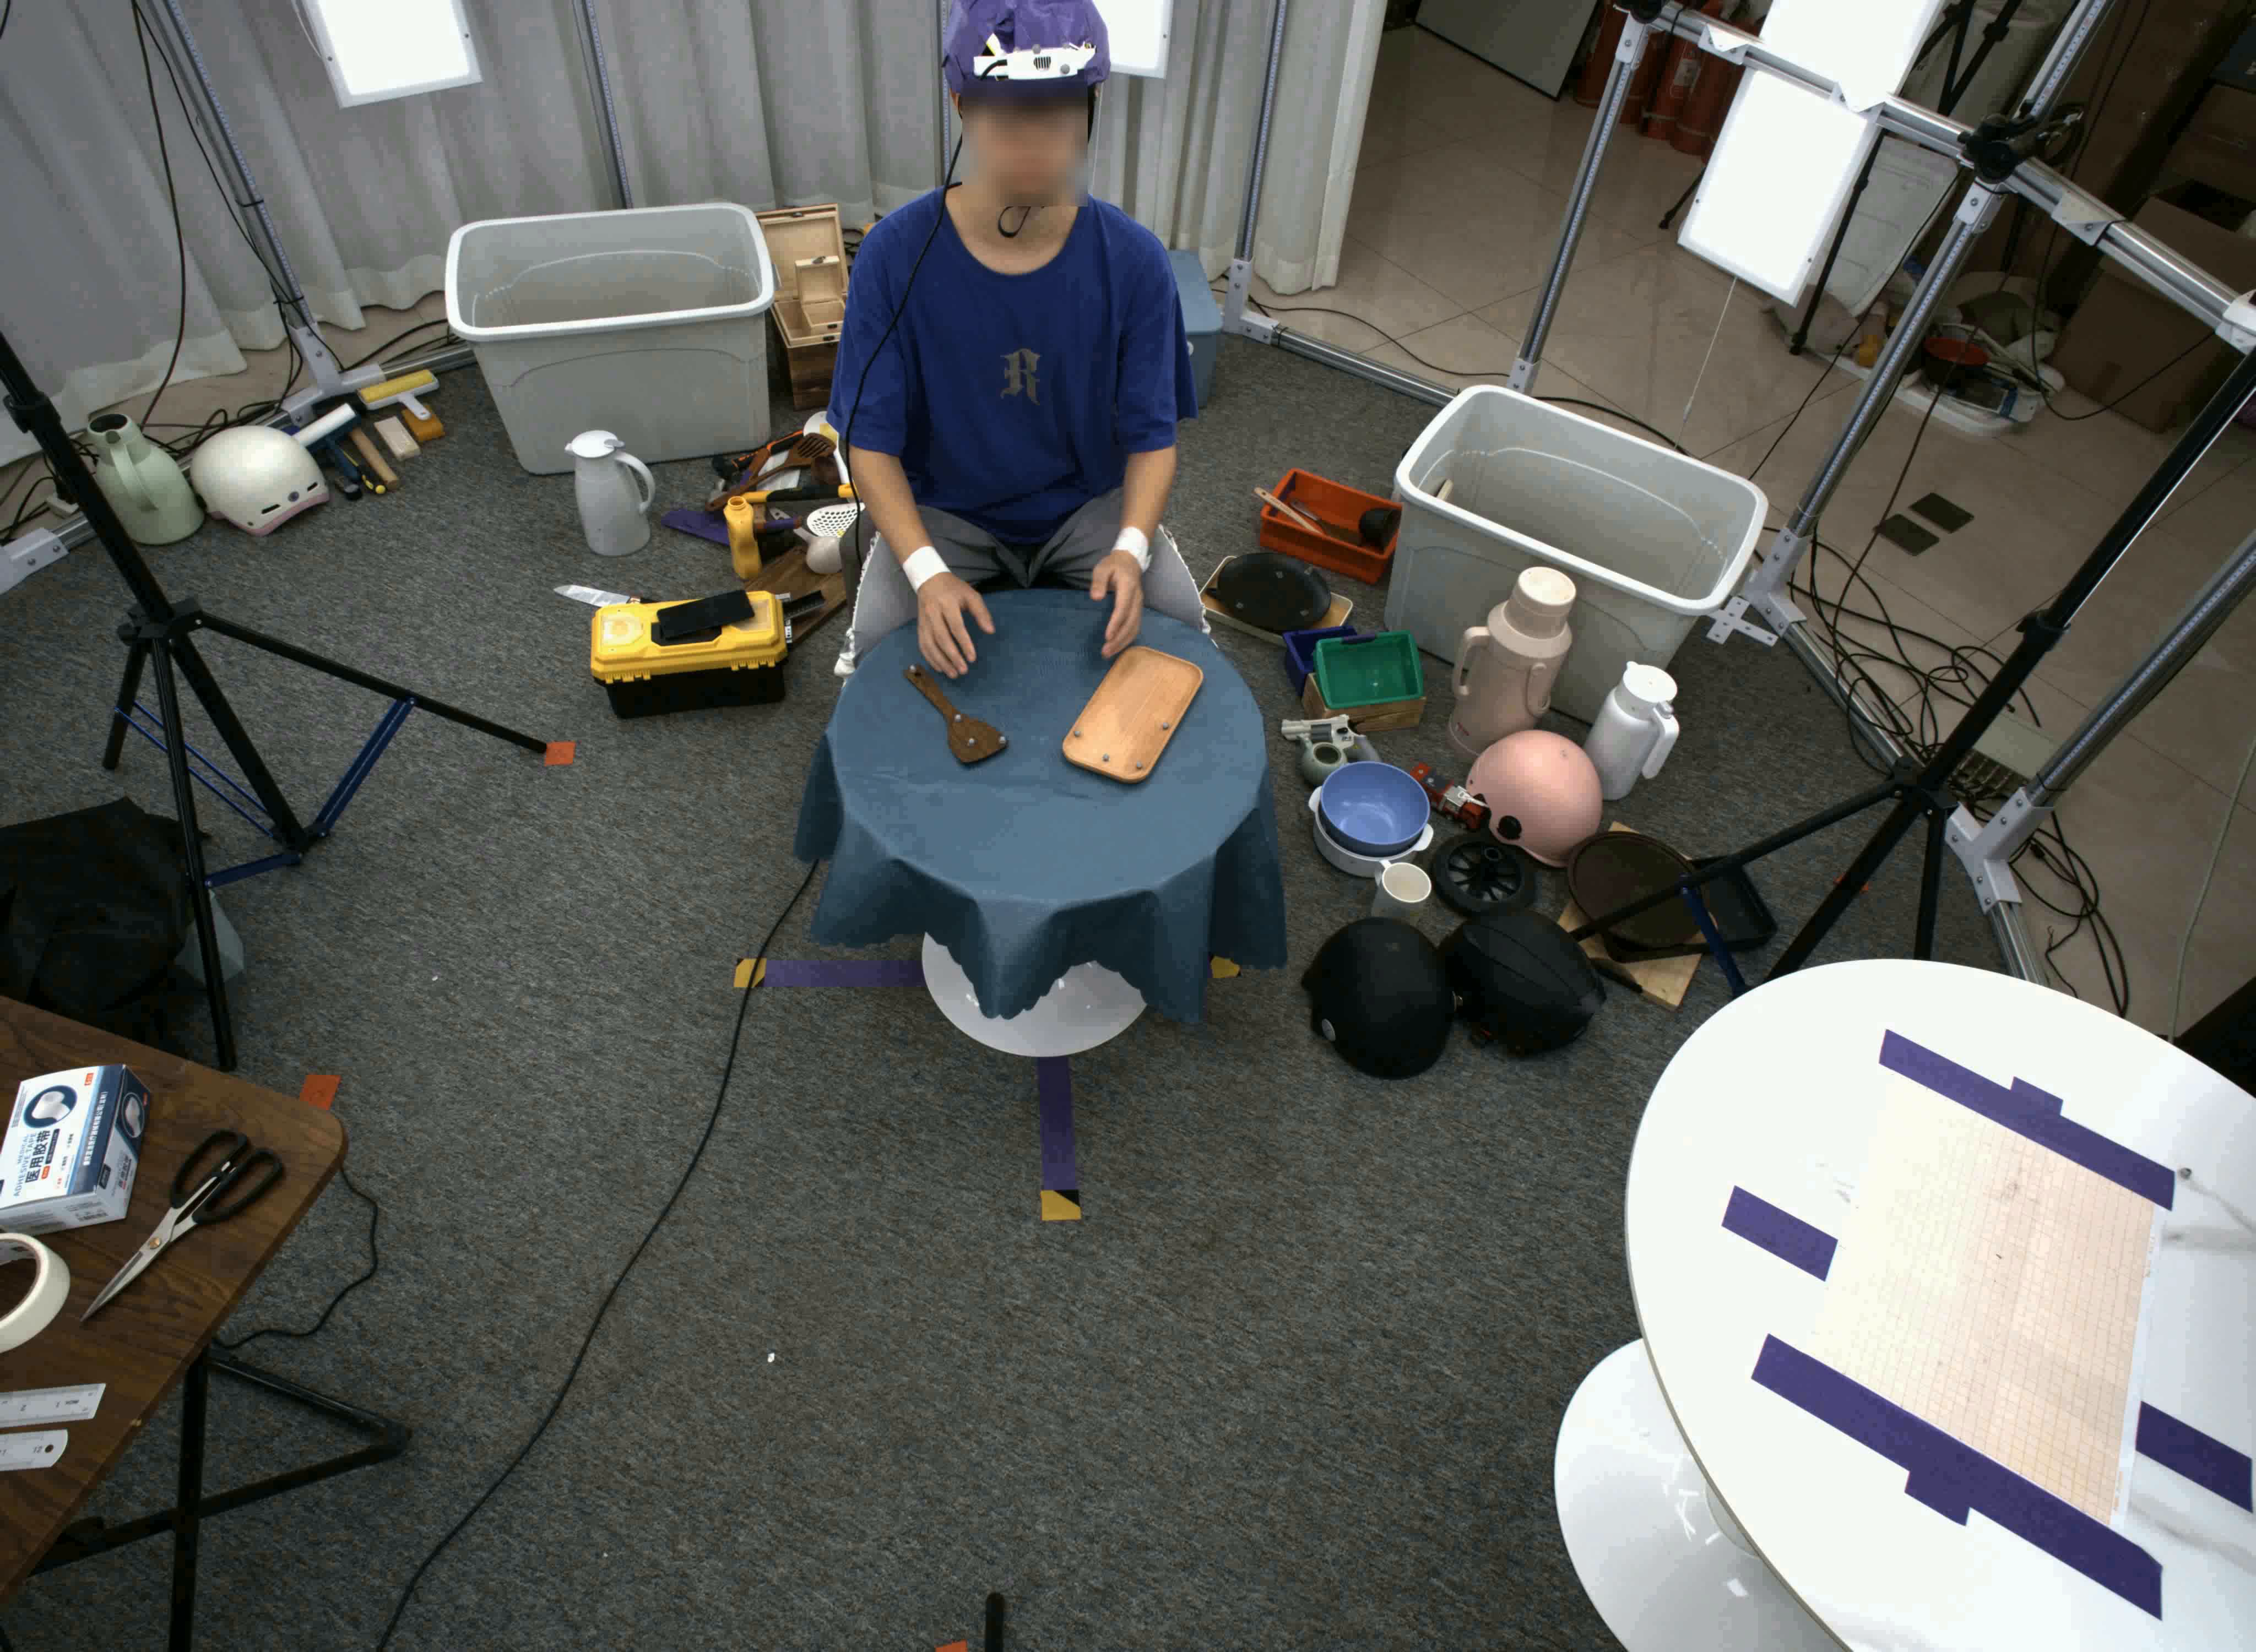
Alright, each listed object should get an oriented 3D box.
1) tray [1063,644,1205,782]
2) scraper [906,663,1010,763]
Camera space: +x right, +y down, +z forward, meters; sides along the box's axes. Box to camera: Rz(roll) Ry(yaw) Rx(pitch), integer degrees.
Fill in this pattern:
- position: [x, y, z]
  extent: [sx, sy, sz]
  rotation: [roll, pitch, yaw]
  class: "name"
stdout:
- position: [0.011, -0.162, 1.802]
  extent: [0.131, 0.022, 0.255]
  rotation: [22, 51, 12]
  class: "tray"
- position: [-0.247, -0.162, 1.791]
  extent: [0.076, 0.010, 0.215]
  rotation: [-26, 55, -24]
  class: "scraper"
